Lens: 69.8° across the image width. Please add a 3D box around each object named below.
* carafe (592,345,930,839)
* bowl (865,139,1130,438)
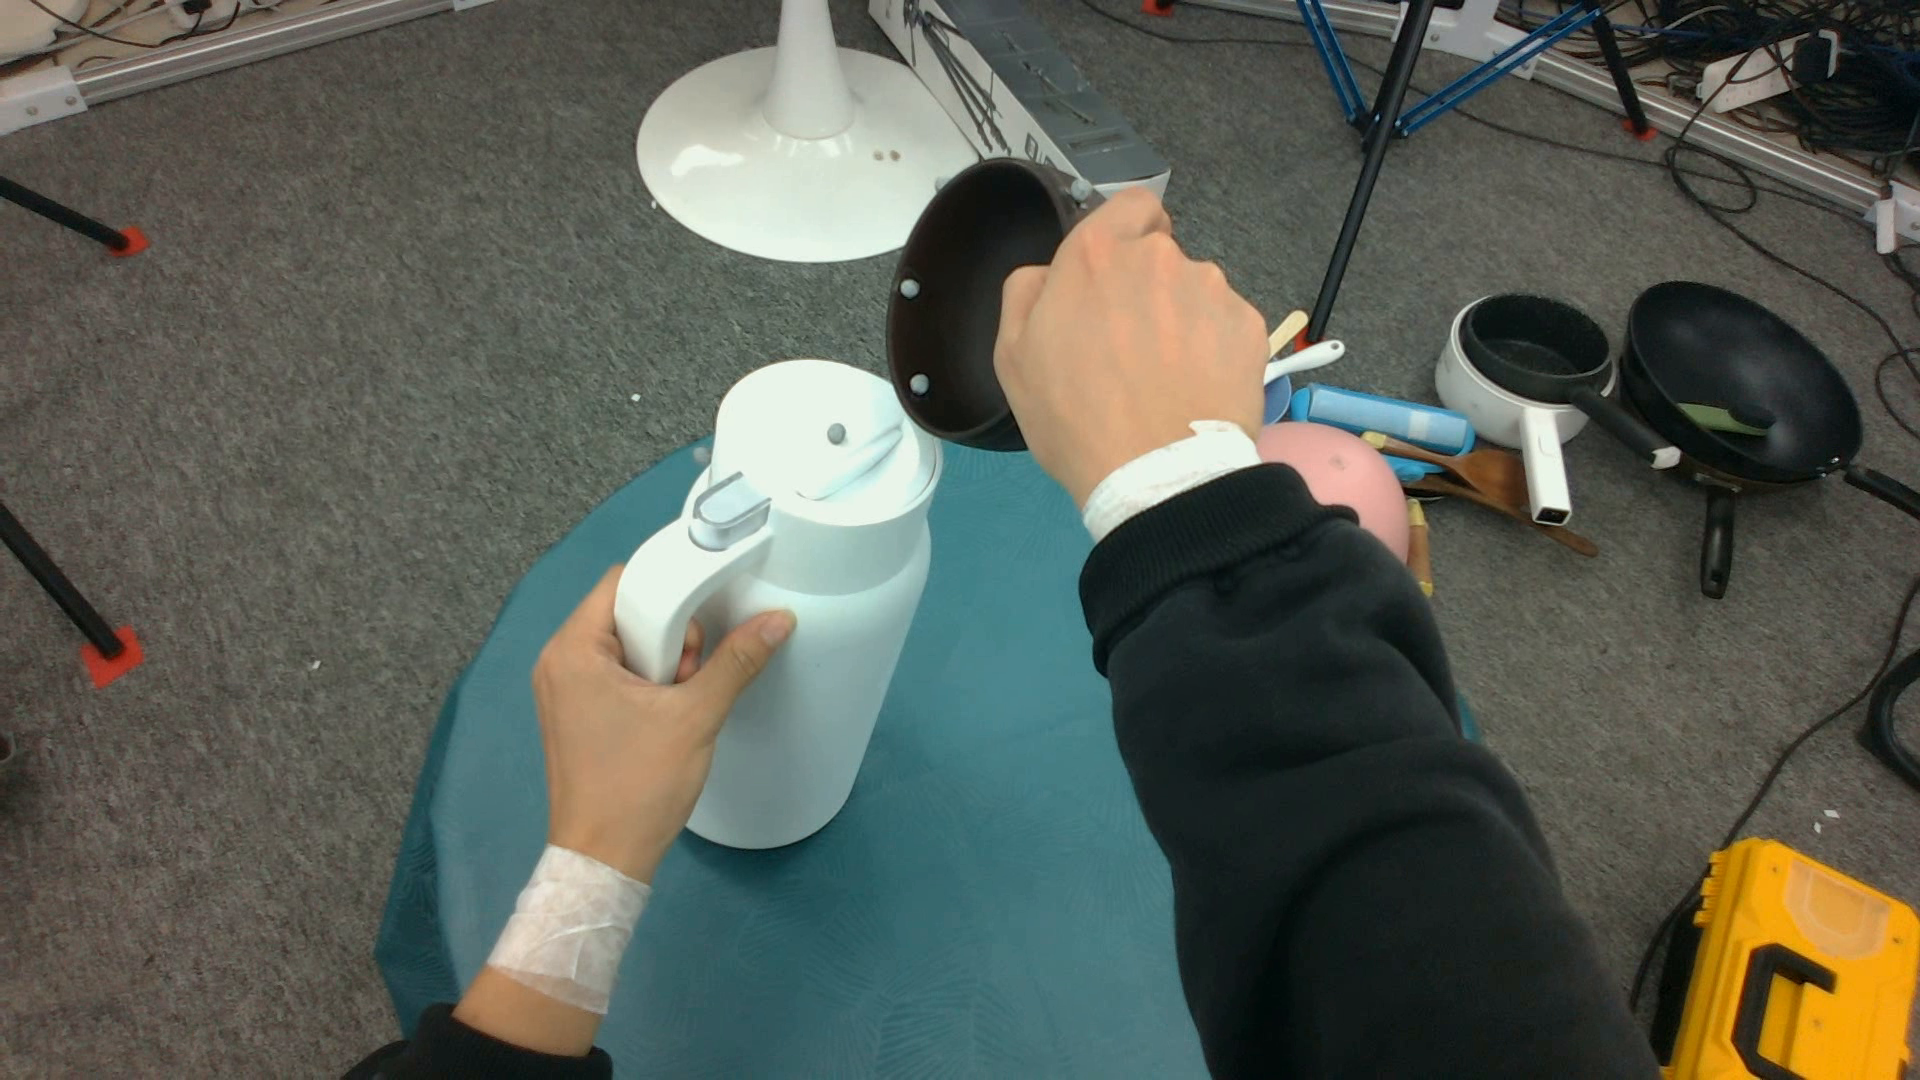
[{"bbox_3d":[-0.103,0.044,0.670,0.124,0.267,0.173,39,49,13],"label":"carafe"},{"bbox_3d":[0.023,-0.099,0.570,0.070,0.117,0.118,8,44,-41],"label":"bowl"}]
